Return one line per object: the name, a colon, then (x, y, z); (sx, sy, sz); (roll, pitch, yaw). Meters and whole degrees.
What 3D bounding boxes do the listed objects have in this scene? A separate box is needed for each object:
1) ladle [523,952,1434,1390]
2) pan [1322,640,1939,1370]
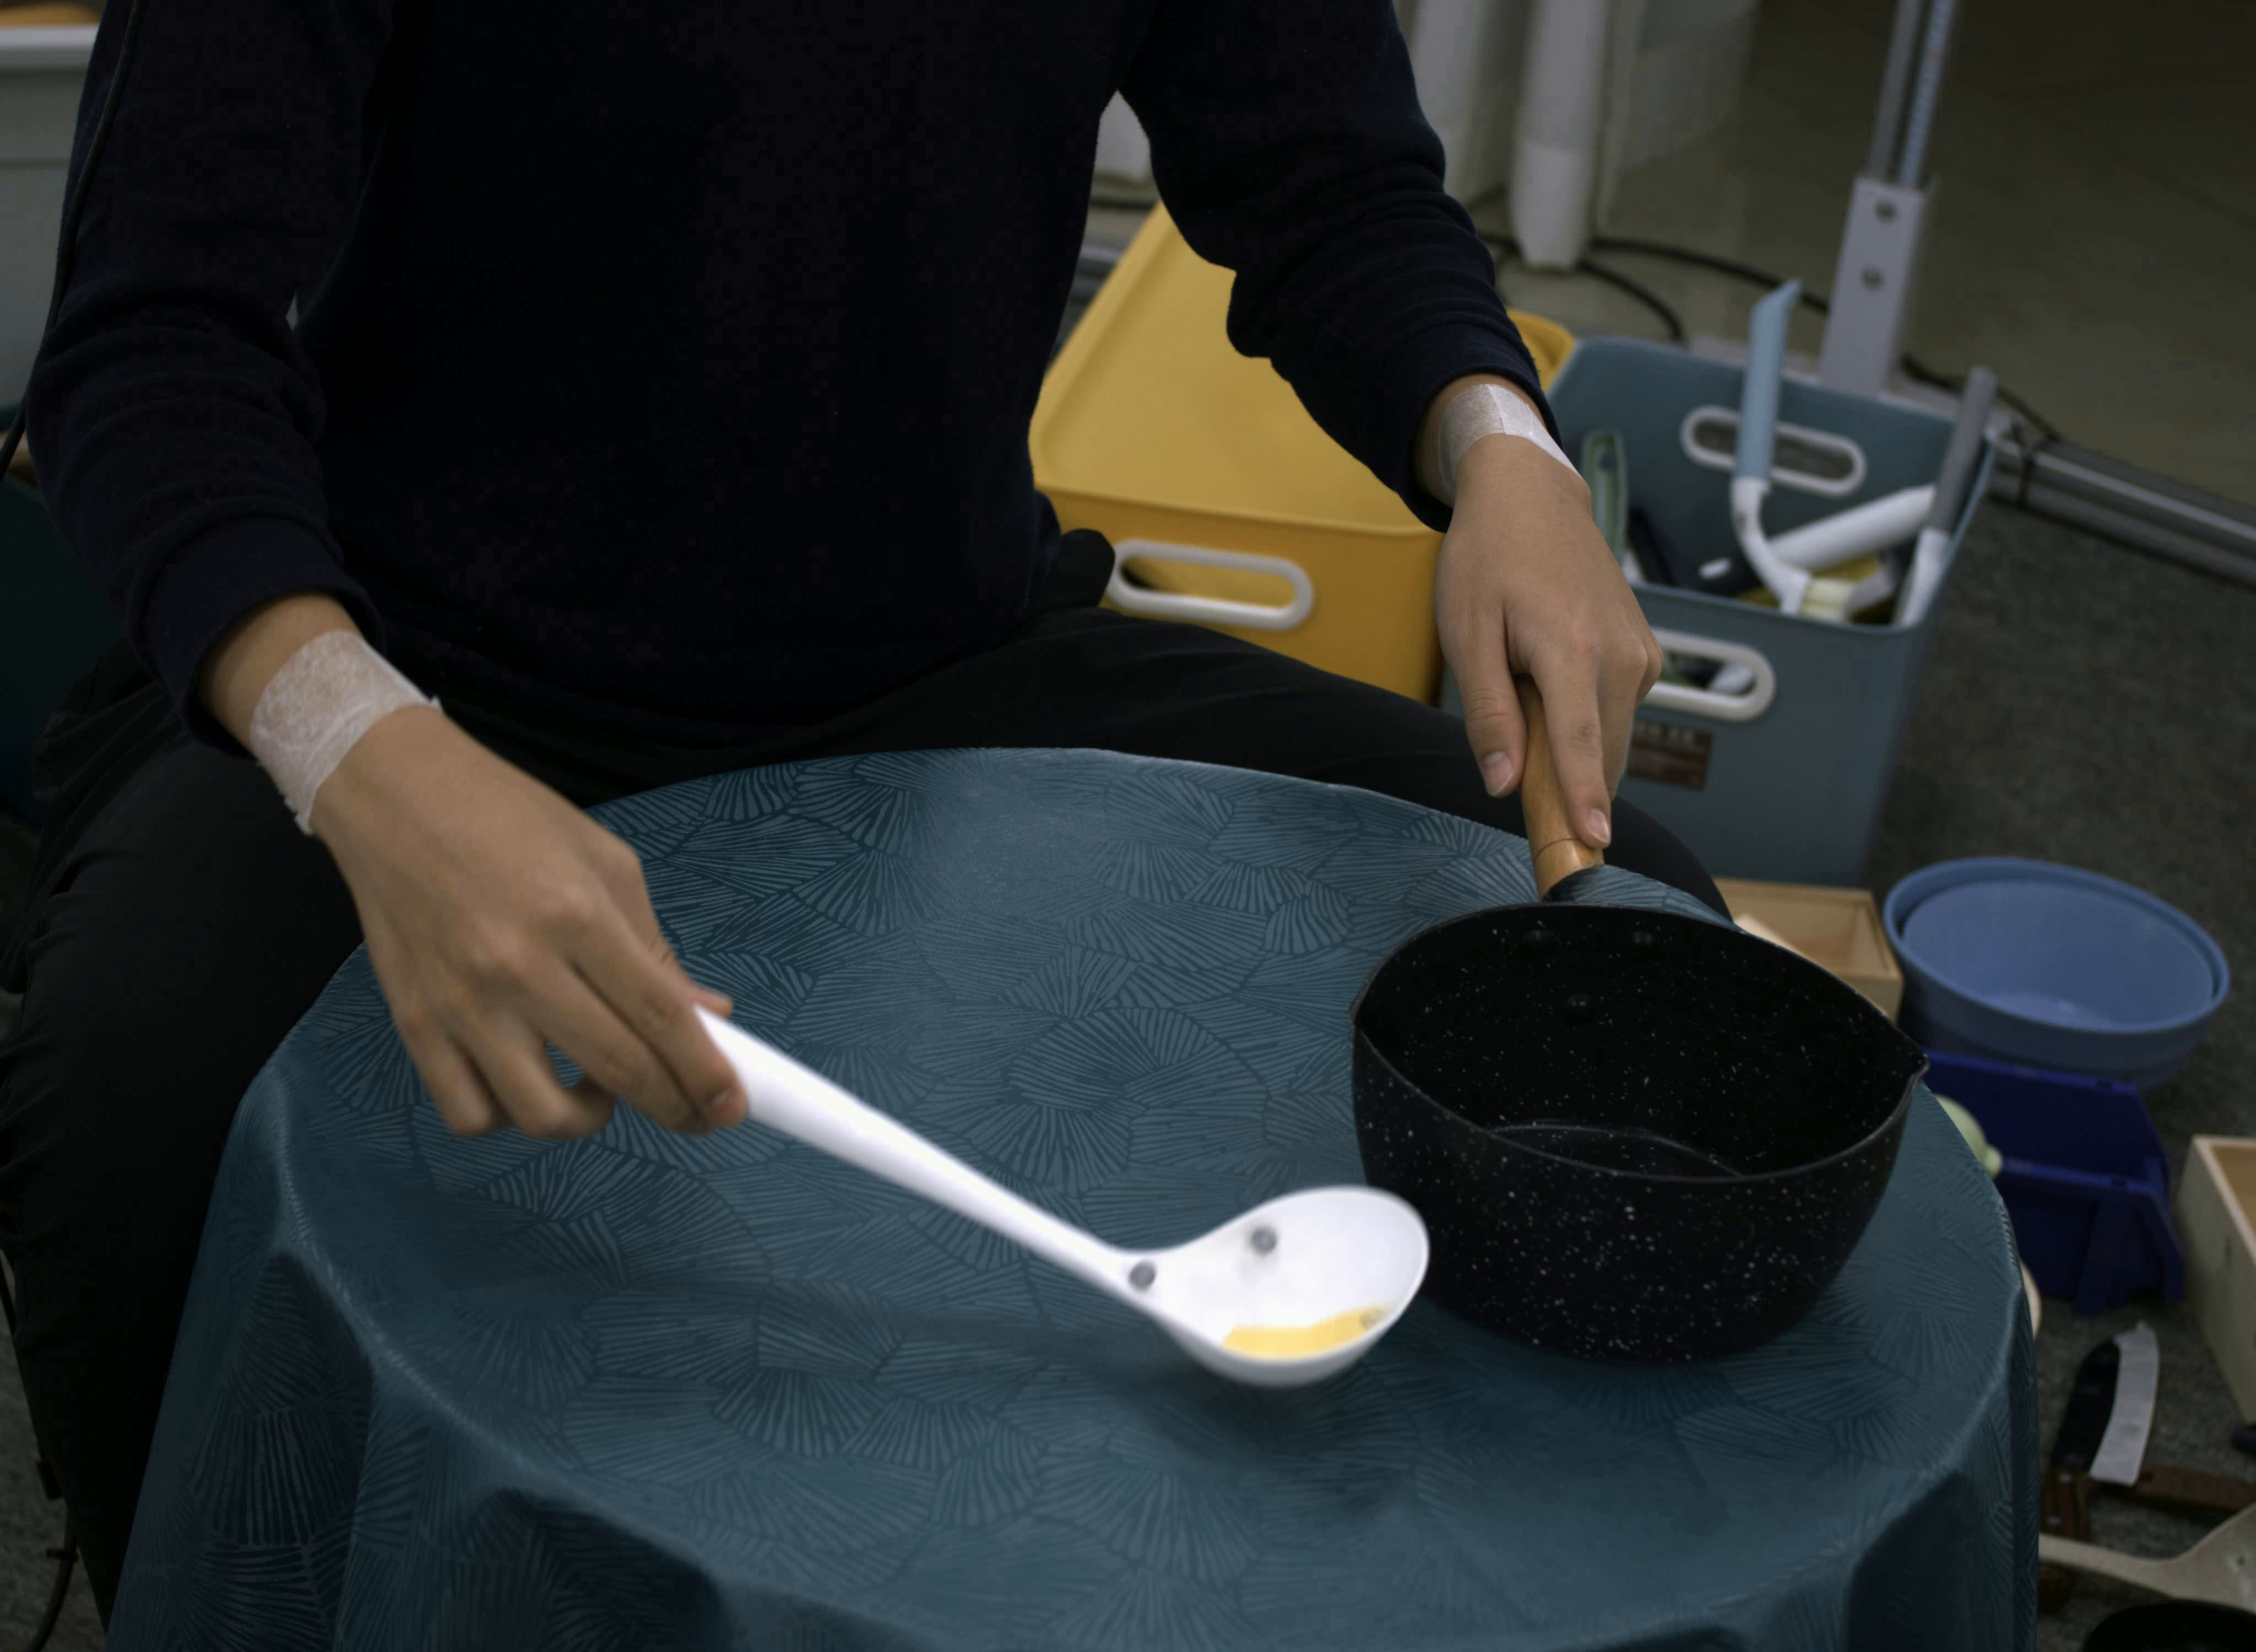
ladle: (-0.049, 0.101, 1.683); (0.292, 0.070, 0.090); (25, 39, 0)
pan: (0.157, 0.058, 1.847); (0.206, 0.108, 0.345); (2, 29, -7)
